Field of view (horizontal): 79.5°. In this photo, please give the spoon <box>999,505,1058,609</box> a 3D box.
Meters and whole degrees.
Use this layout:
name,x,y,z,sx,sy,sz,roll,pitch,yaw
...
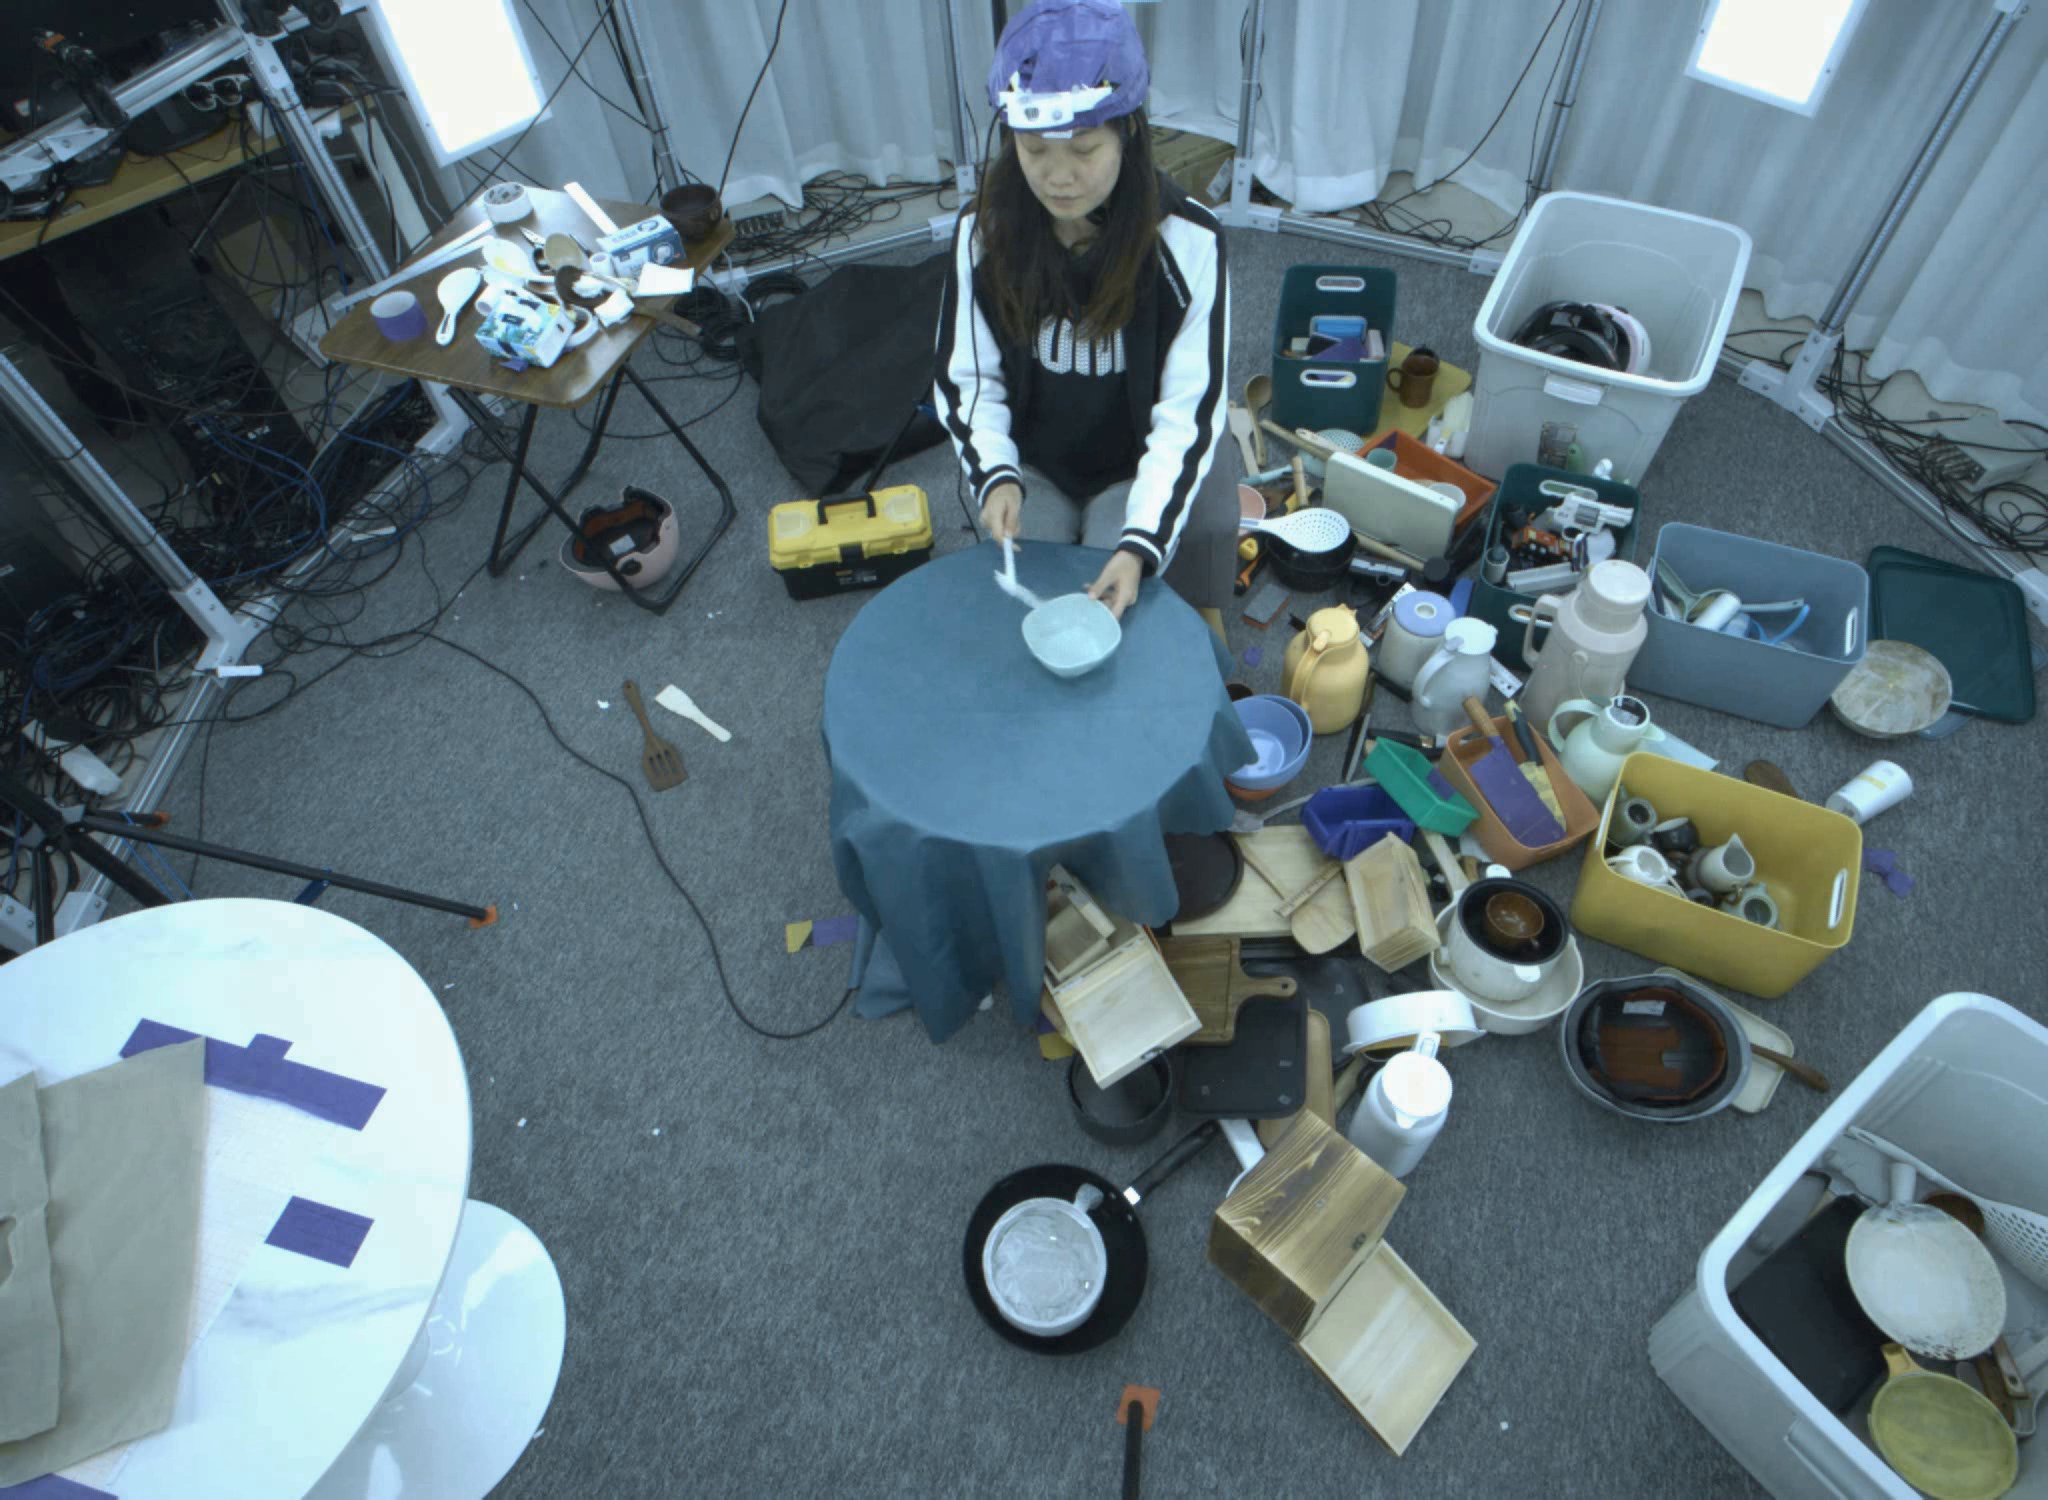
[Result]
name,x,y,z,sx,sy,sz,roll,pitch,yaw
spoon,0.005,-0.300,1.842,0.059,0.103,0.274,-37,37,31

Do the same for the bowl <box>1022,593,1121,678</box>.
name,x,y,z,sx,sy,sz,roll,pitch,yaw
bowl,0.072,-0.164,1.869,0.151,0.059,0.150,0,55,2
